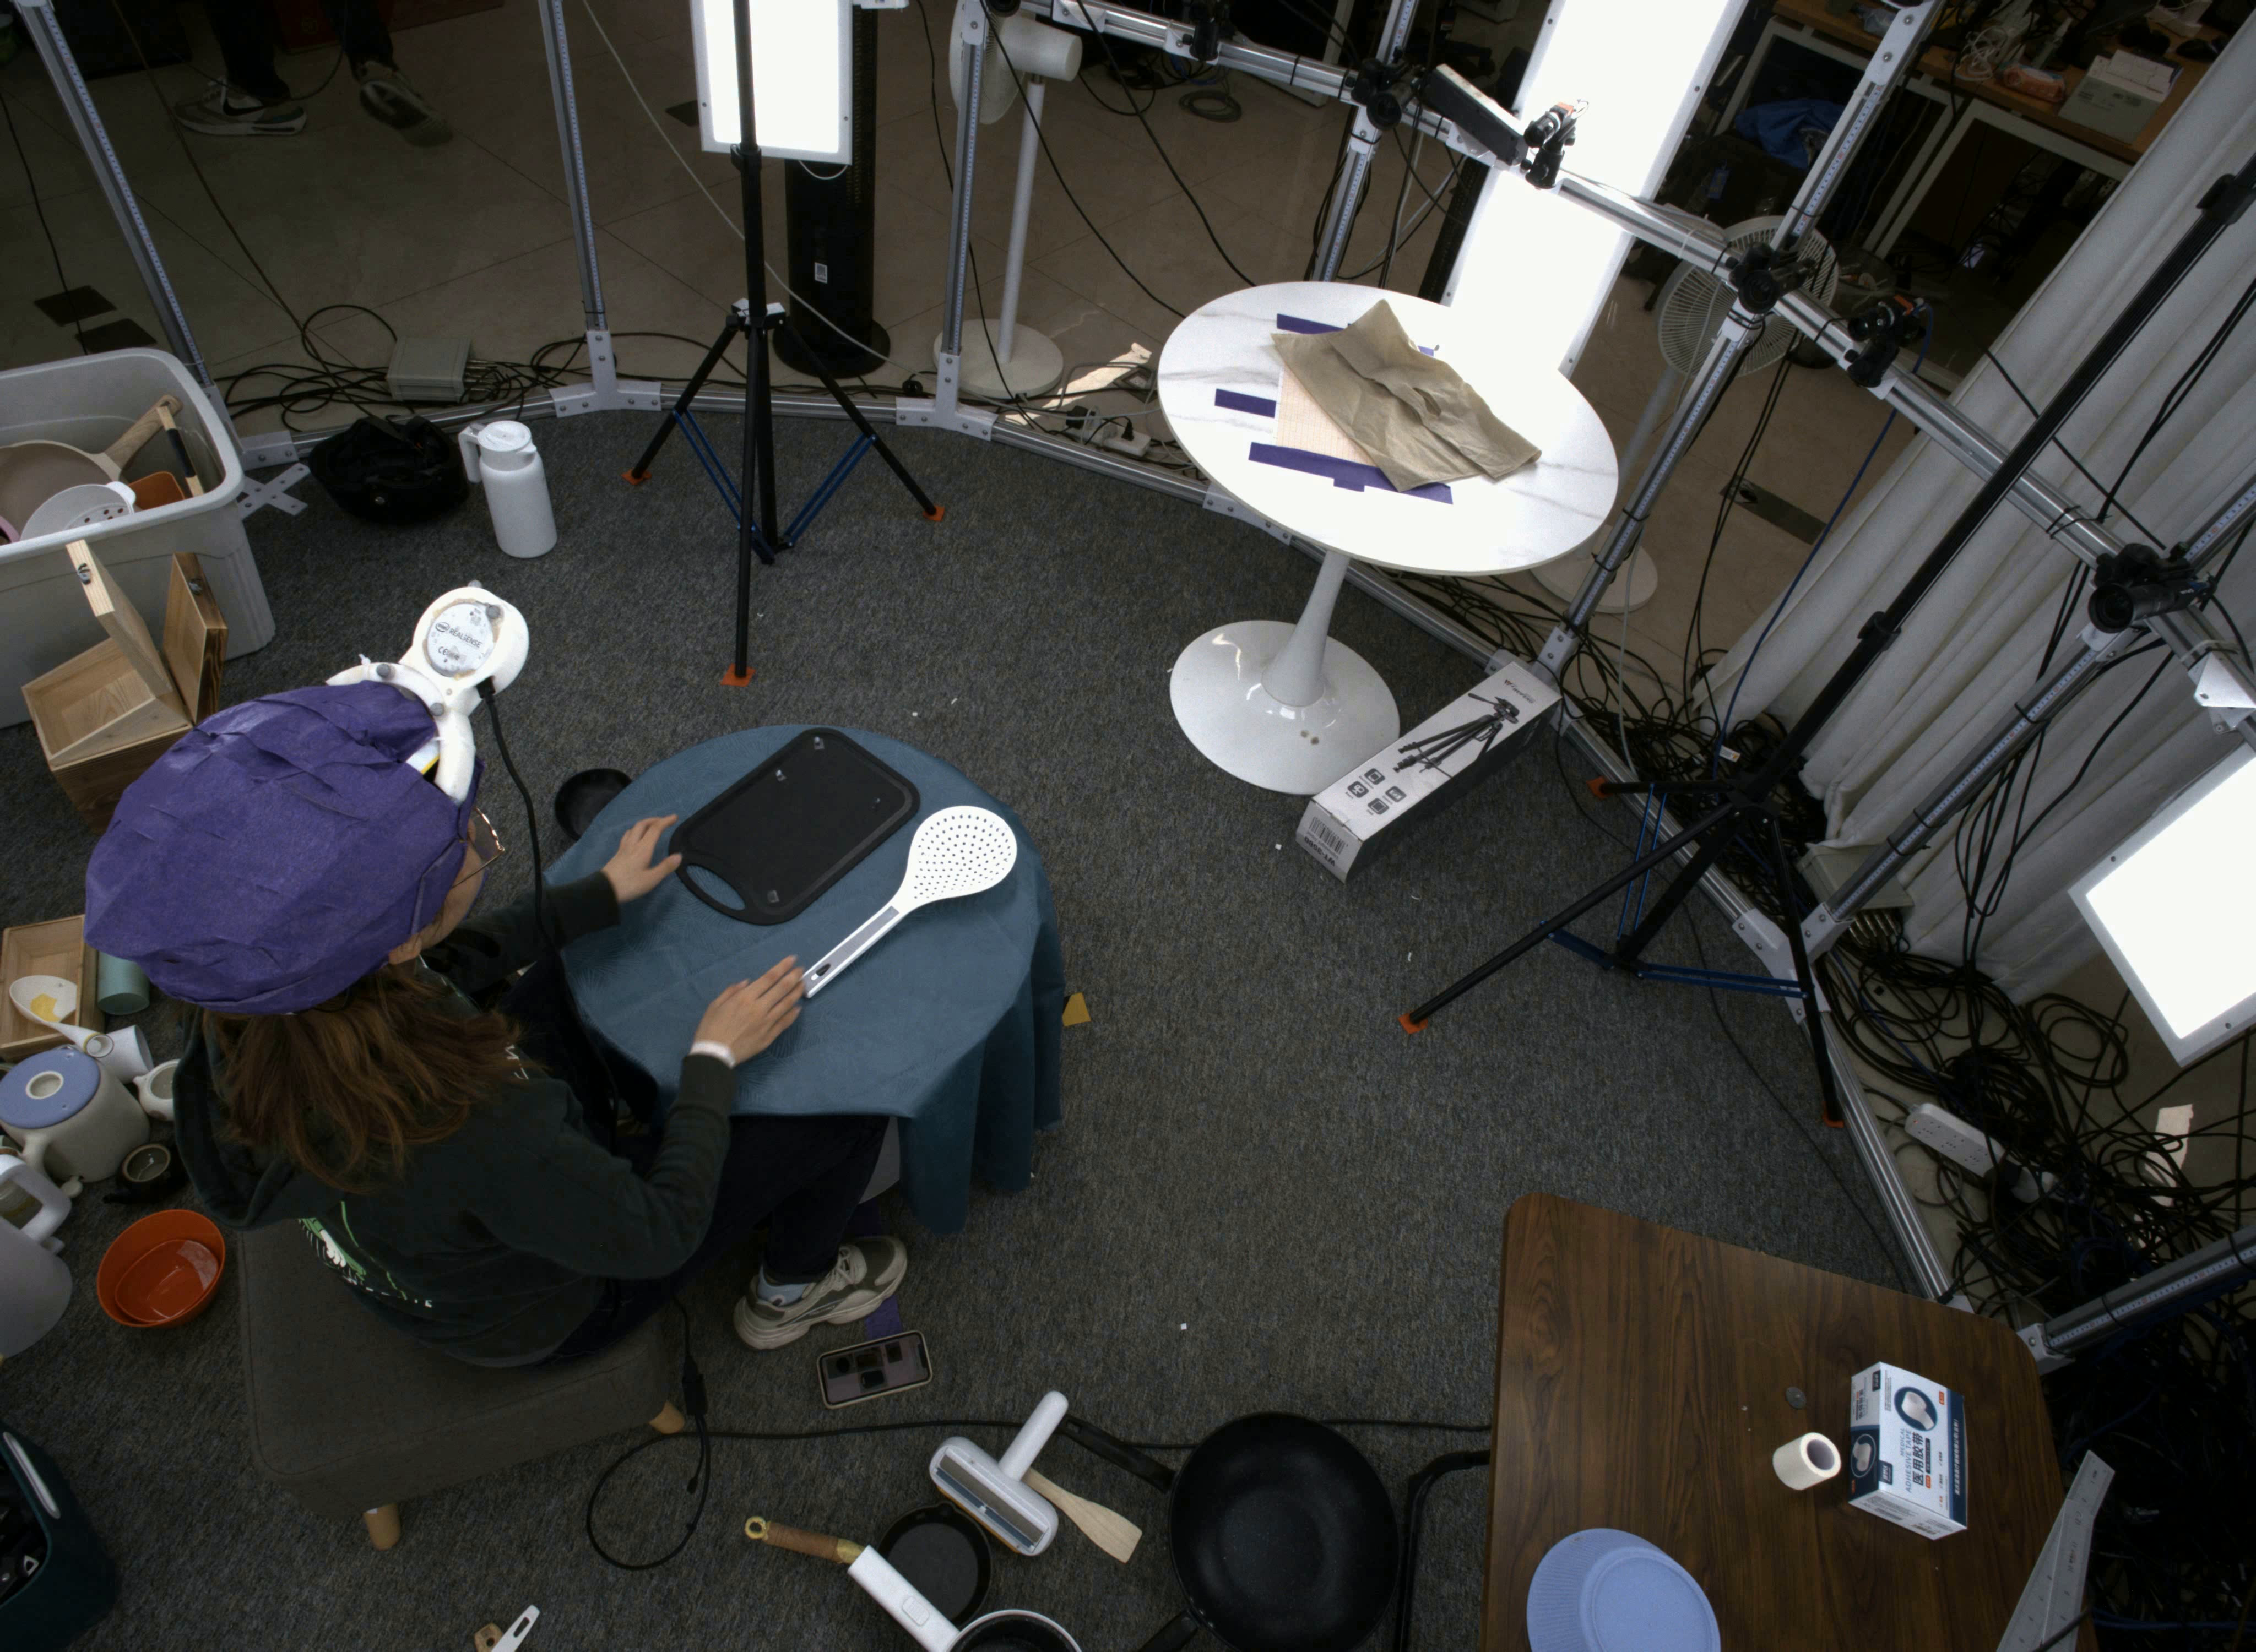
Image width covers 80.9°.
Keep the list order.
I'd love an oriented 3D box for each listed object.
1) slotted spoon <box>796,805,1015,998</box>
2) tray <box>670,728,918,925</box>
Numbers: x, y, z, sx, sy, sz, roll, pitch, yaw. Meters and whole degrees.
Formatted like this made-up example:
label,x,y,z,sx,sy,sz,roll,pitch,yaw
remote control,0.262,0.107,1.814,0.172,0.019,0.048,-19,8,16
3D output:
label,x,y,z,sx,sy,sz,roll,pitch,yaw
slotted spoon,-0.285,0.096,1.664,0.133,0.047,0.350,37,55,17
tray,-0.445,-0.004,1.722,0.207,0.010,0.325,35,54,13
